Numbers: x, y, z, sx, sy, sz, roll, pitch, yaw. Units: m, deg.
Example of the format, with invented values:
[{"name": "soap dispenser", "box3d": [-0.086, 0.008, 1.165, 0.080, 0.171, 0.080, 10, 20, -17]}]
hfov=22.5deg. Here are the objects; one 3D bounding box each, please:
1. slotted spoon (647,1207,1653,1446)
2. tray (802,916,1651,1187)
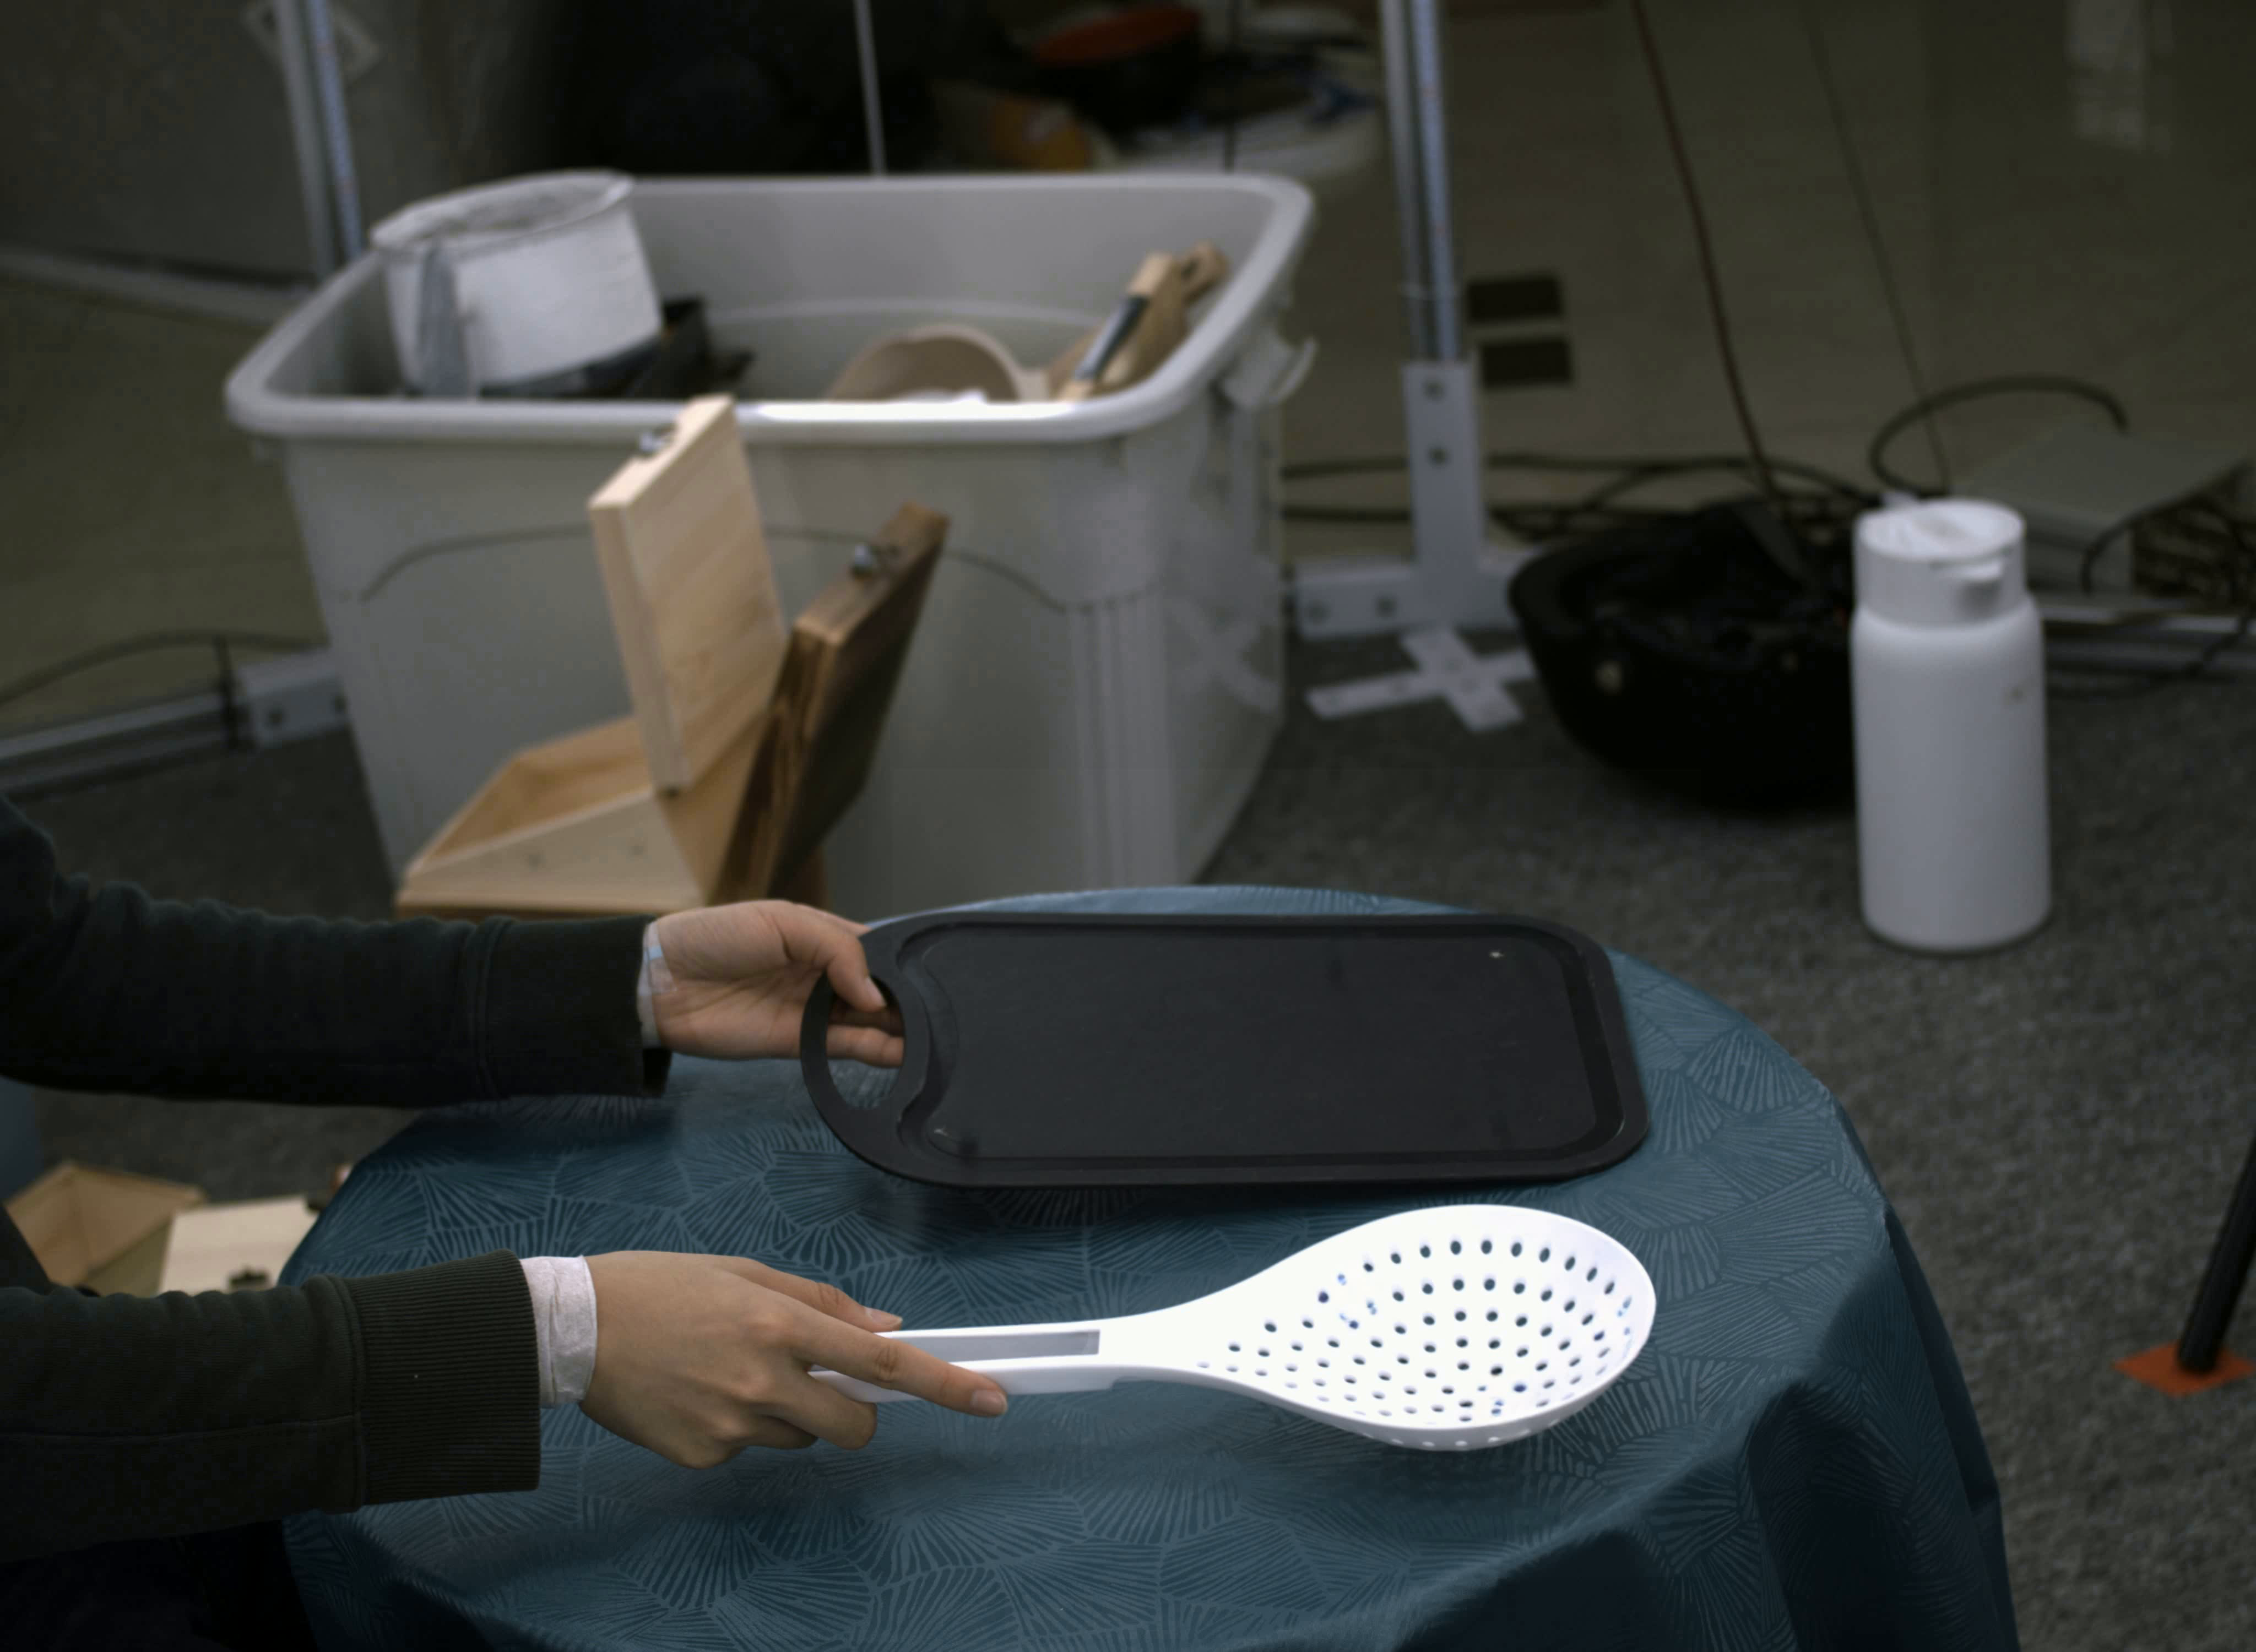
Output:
[{"name": "slotted spoon", "box3d": [0.006, 0.181, 1.969, 0.349, 0.046, 0.134, 0, 28, 3]}, {"name": "tray", "box3d": [0.036, 0.084, 2.207, 0.325, 0.010, 0.208, 0, 27, -2]}]
